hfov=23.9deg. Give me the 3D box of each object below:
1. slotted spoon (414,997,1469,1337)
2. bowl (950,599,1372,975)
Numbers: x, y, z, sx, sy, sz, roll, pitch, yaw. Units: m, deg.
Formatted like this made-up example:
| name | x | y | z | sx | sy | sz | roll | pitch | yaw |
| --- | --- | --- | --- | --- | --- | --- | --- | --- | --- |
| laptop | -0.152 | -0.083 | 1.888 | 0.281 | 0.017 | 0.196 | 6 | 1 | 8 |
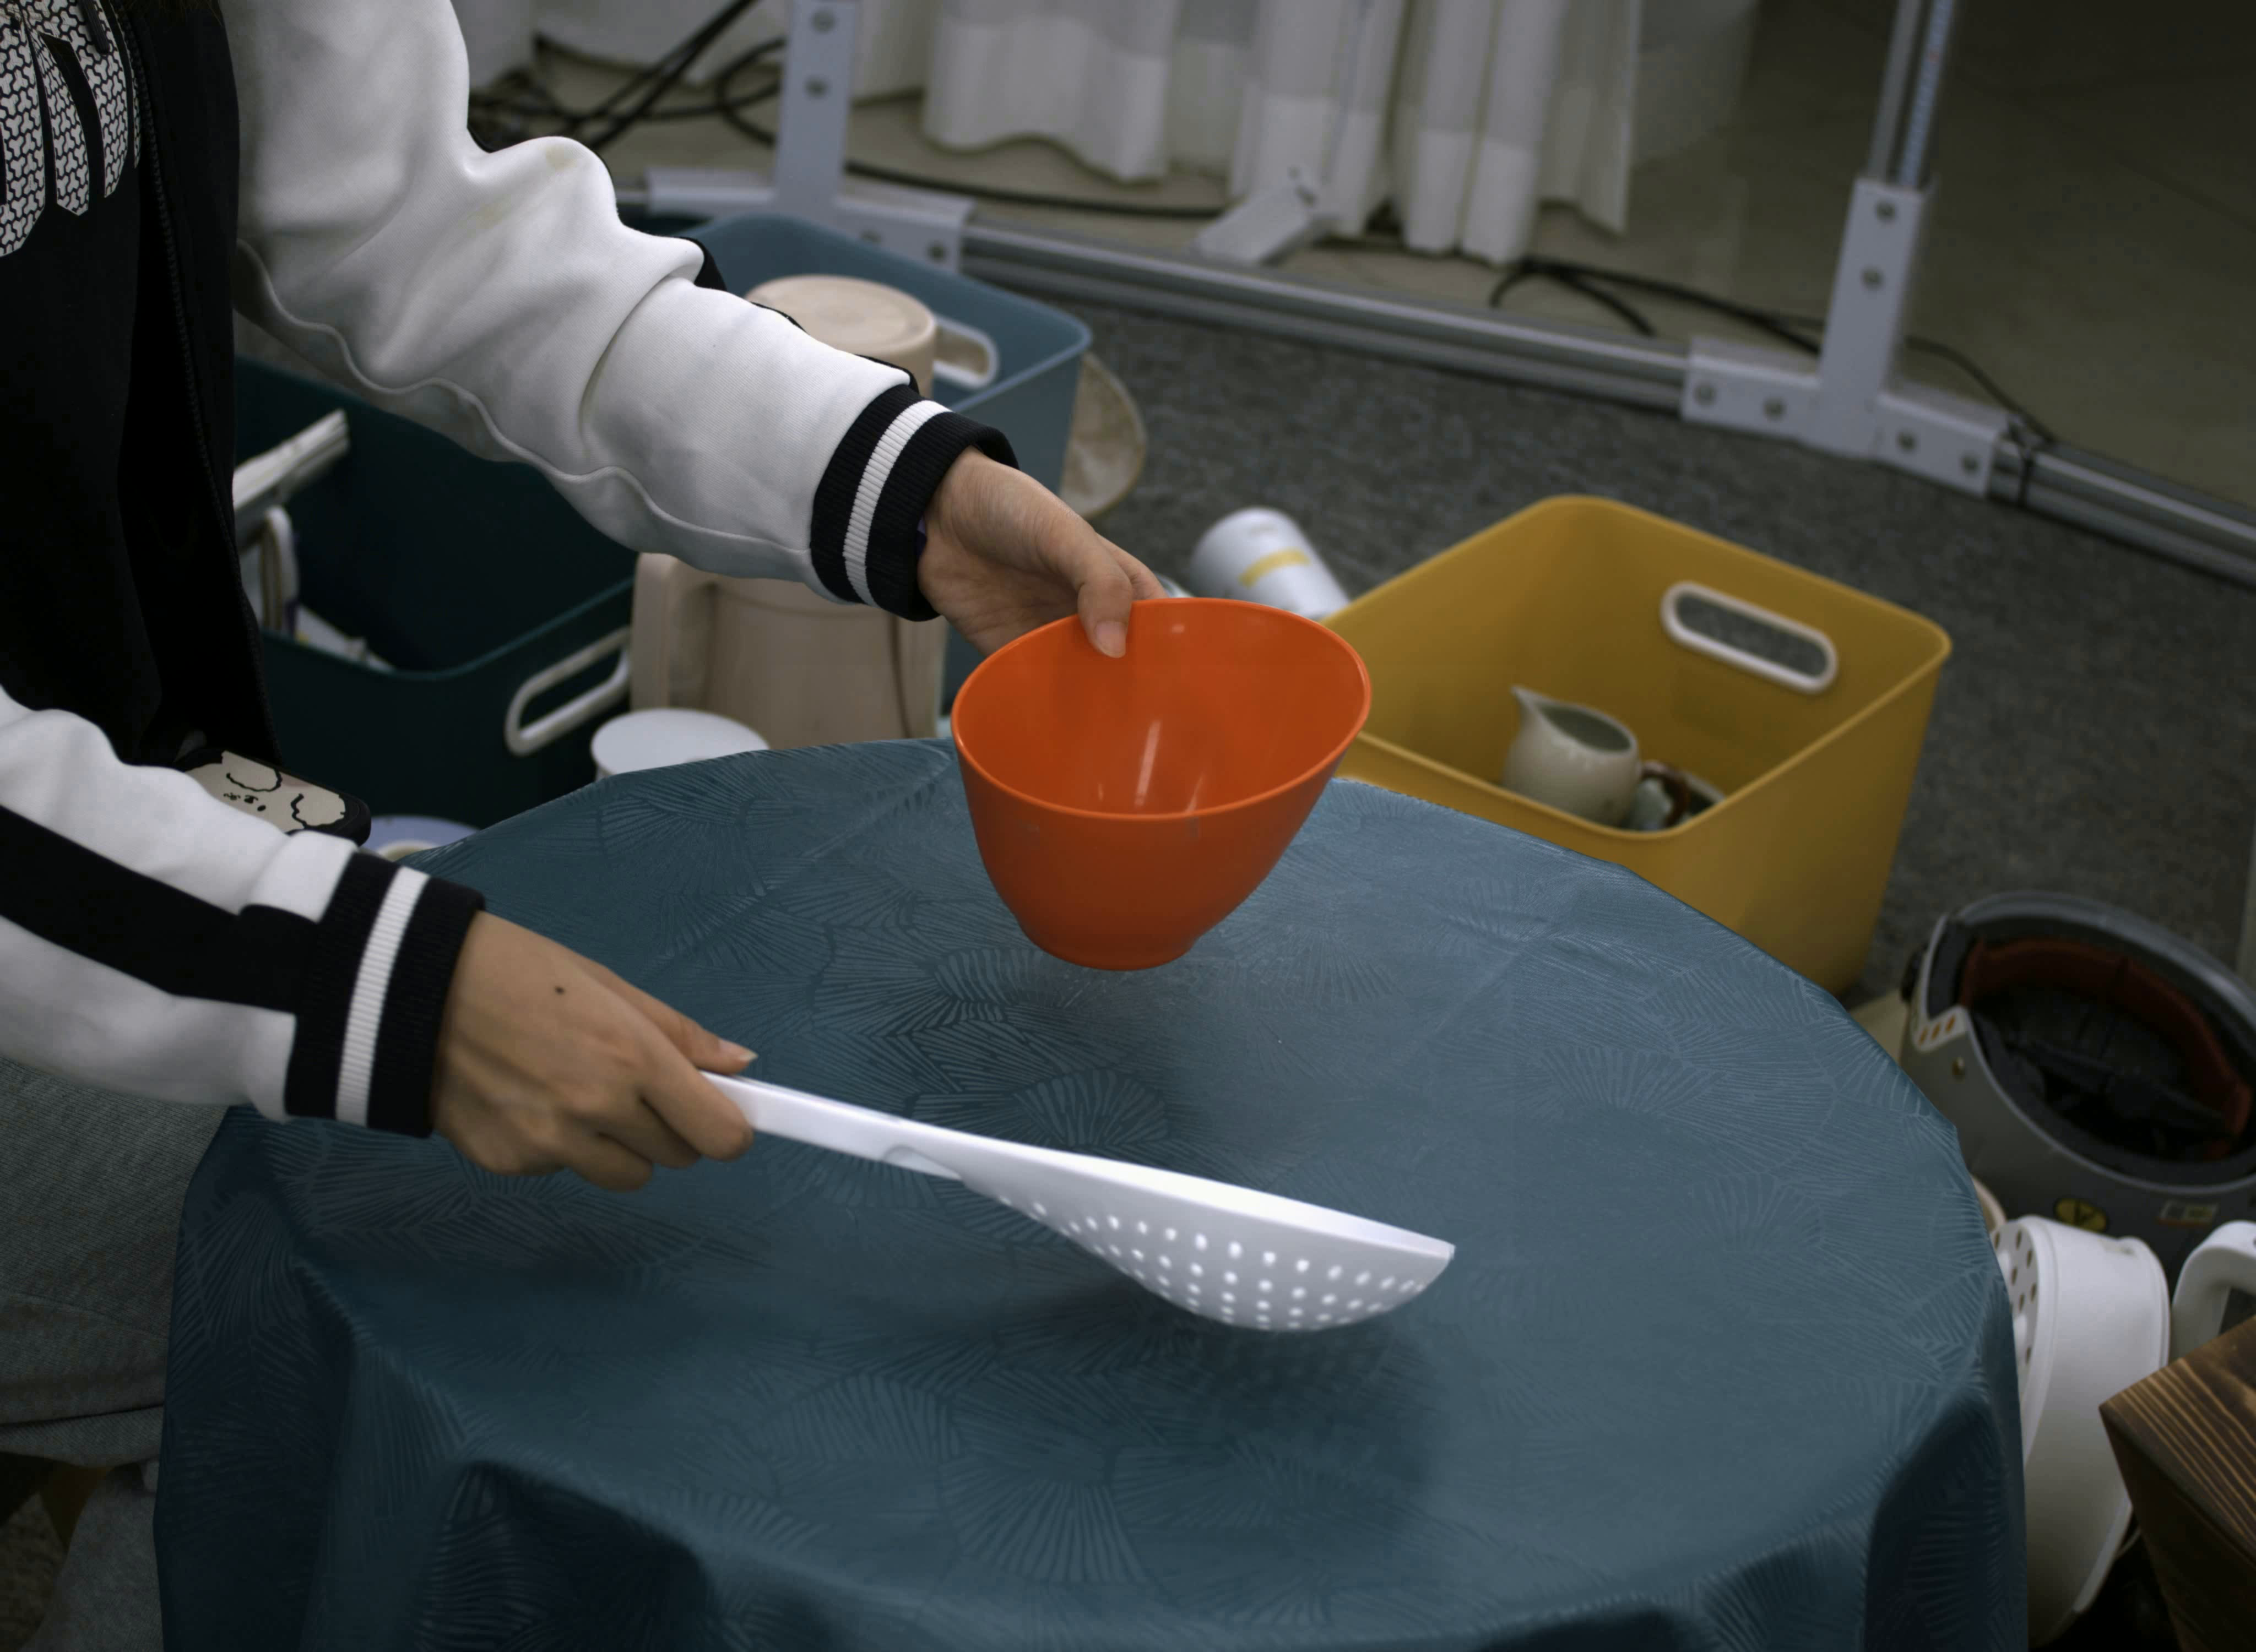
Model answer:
| name | x | y | z | sx | sy | sz | roll | pitch | yaw |
| --- | --- | --- | --- | --- | --- | --- | --- | --- | --- |
| slotted spoon | -0.063 | 0.104 | 1.712 | 0.350 | 0.046 | 0.136 | 19 | 0 | 7 |
| bowl | 0.008 | -0.007 | 1.891 | 0.147 | 0.104 | 0.149 | 3 | 33 | -2 |
